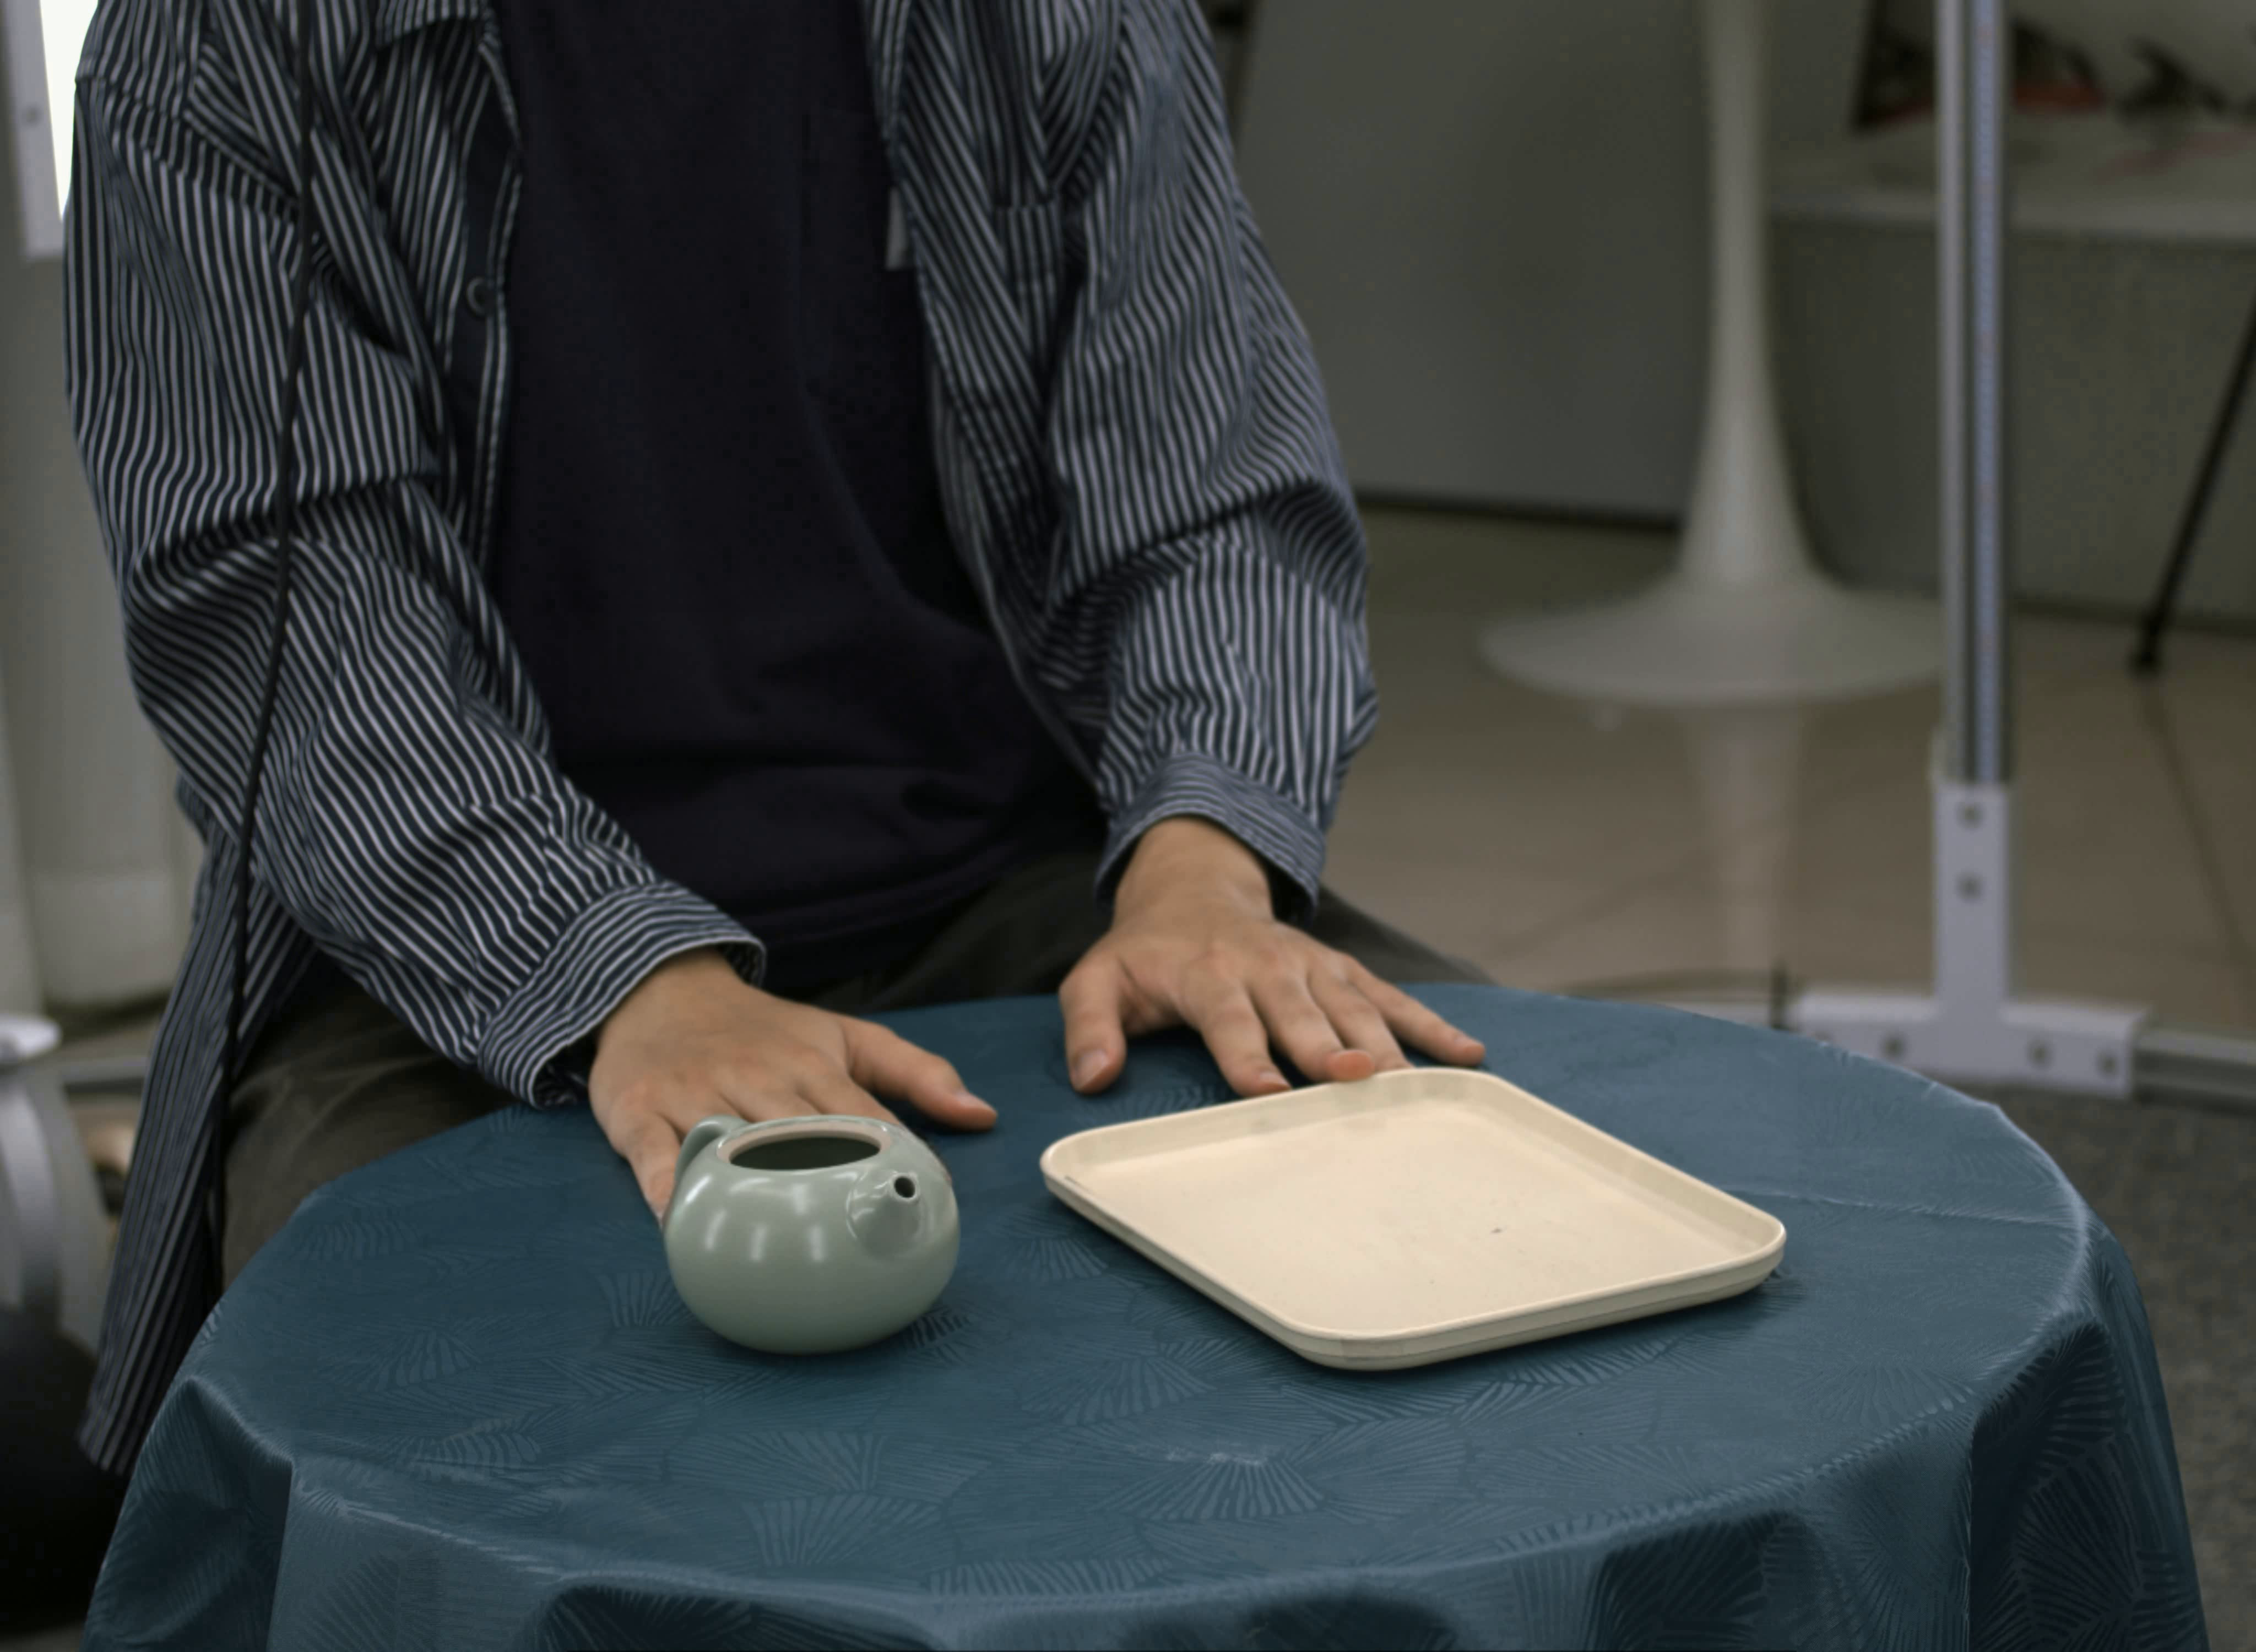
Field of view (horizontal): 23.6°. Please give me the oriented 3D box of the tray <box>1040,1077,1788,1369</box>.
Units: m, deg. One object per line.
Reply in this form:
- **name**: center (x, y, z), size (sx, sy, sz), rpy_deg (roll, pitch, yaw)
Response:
- **tray**: center (0.087, 0.124, 1.697), size (0.167, 0.017, 0.242), rpy_deg (-9, 14, -22)

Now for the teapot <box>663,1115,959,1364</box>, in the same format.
- **teapot**: center (-0.102, 0.125, 1.659), size (0.089, 0.061, 0.130), rpy_deg (-14, 16, -31)
